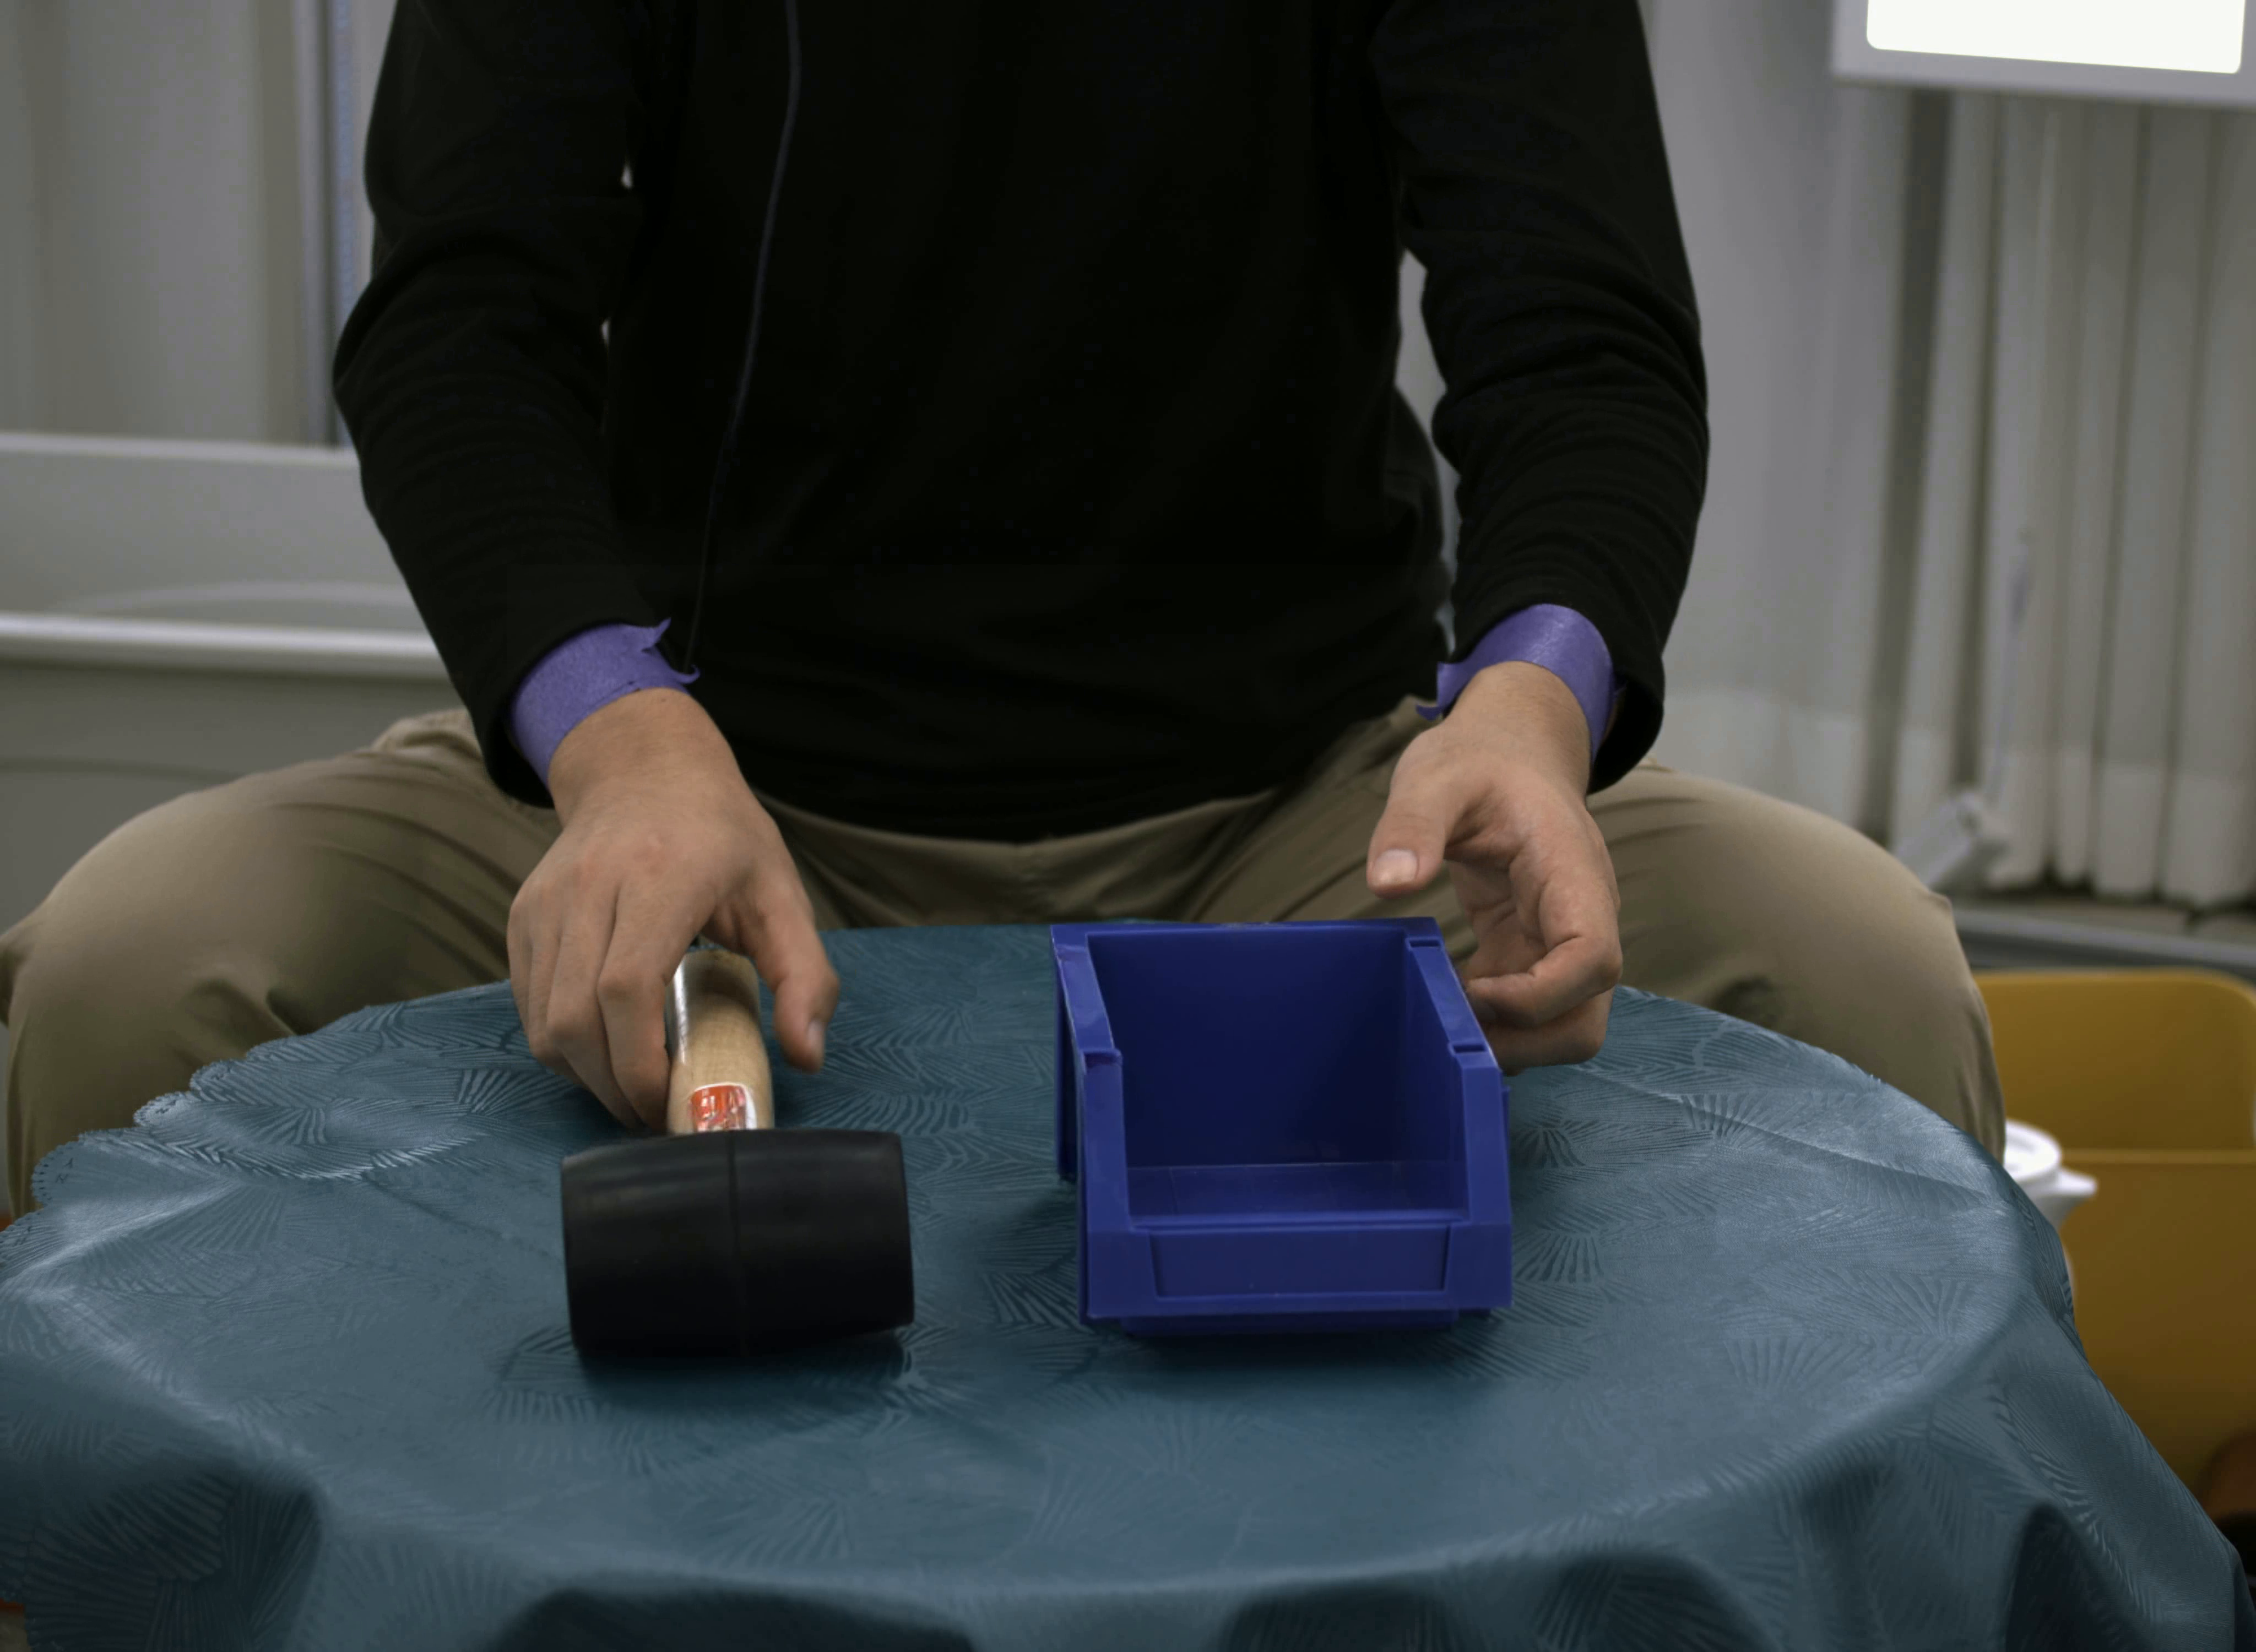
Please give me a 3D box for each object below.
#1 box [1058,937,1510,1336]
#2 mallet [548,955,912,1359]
[{"bbox_3d":[0.045,0.093,1.542,0.124,0.082,0.178,0,12,-3],"label":"box"},{"bbox_3d":[-0.123,0.083,1.614,0.102,0.065,0.336,0,15,-5],"label":"mallet"}]
